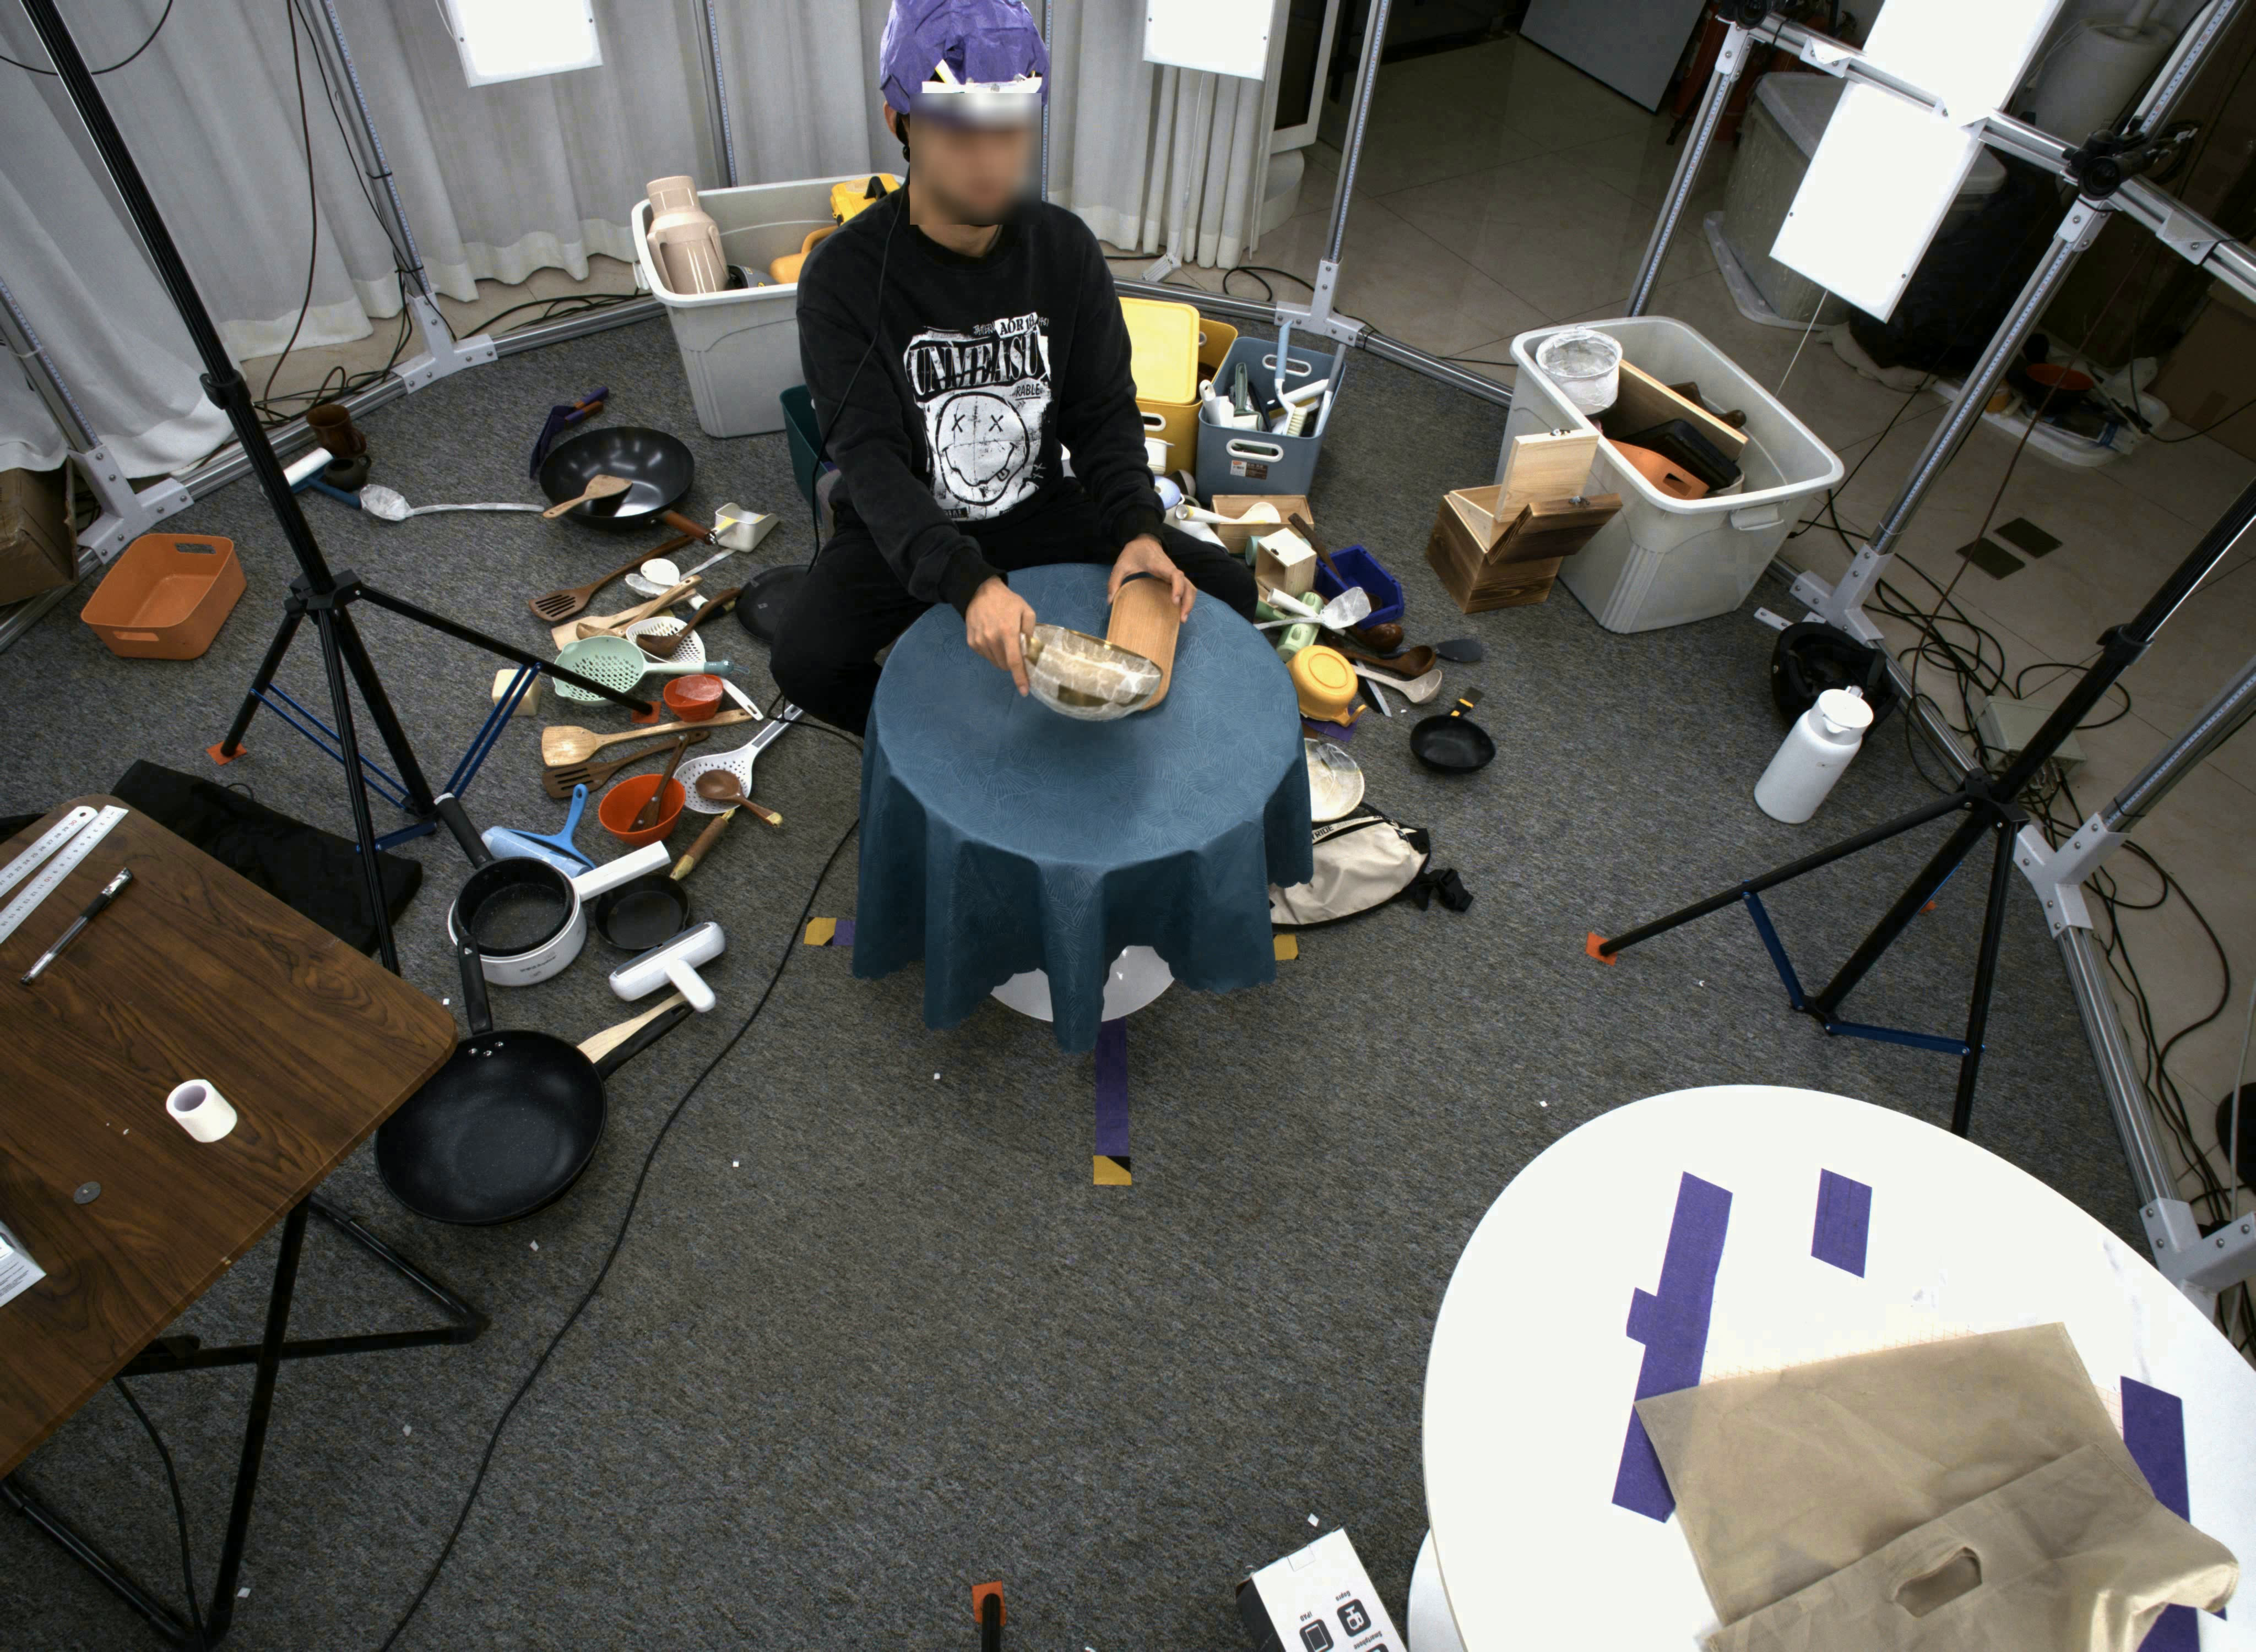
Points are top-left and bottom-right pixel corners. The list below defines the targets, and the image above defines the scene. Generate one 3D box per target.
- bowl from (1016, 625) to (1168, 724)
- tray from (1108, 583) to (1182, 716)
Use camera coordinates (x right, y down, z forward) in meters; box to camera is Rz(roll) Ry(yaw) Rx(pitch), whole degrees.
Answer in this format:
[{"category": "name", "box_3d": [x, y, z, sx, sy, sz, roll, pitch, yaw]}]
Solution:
[{"category": "bowl", "box_3d": [-0.060, -0.193, 1.716, 0.214, 0.093, 0.218, 16, 17, -5]}, {"category": "tray", "box_3d": [0.021, -0.259, 1.873, 0.102, 0.020, 0.236, 5, 62, 5]}]
